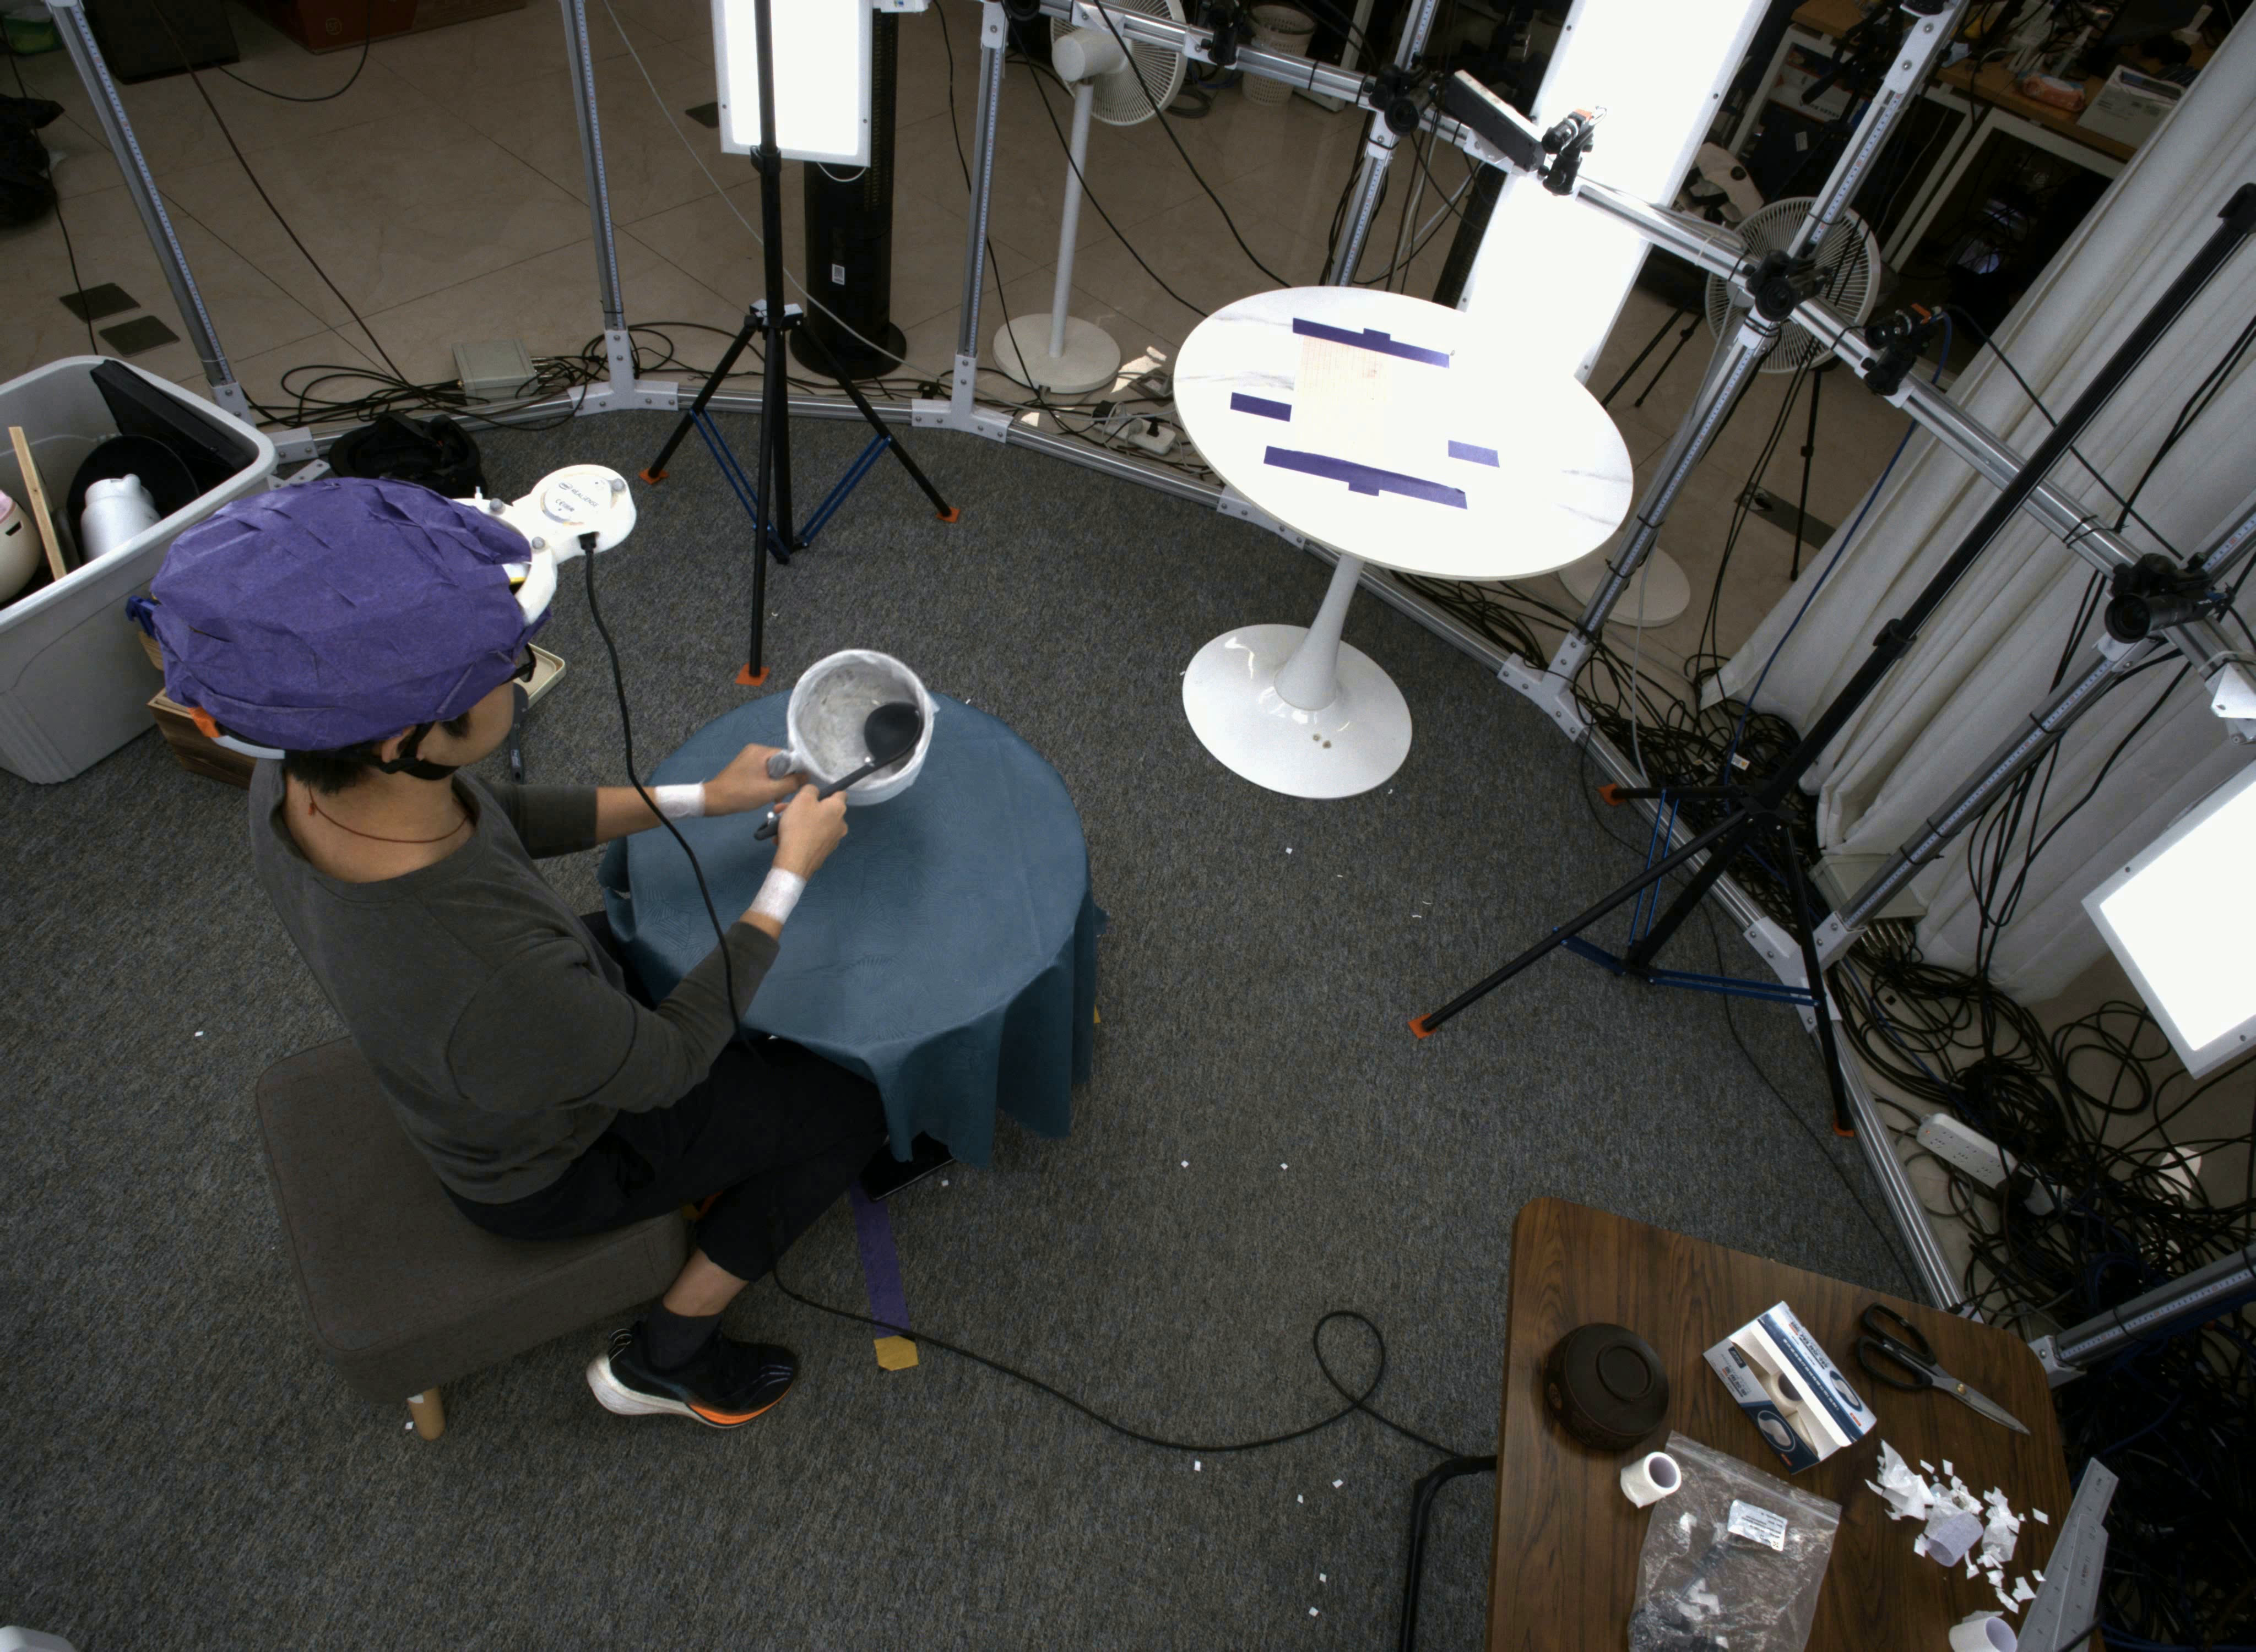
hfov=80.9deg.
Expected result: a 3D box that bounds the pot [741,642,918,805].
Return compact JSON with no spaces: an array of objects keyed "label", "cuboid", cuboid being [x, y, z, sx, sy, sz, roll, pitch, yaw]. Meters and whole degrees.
[{"label":"pot","cuboid":[-0.381,-0.110,1.636,0.234,0.136,0.179,-33,88,-18]}]

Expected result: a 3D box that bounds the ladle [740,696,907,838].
[{"label":"ladle","cuboid":[-0.363,-0.075,1.525,0.084,0.066,0.313,-10,19,29]}]
